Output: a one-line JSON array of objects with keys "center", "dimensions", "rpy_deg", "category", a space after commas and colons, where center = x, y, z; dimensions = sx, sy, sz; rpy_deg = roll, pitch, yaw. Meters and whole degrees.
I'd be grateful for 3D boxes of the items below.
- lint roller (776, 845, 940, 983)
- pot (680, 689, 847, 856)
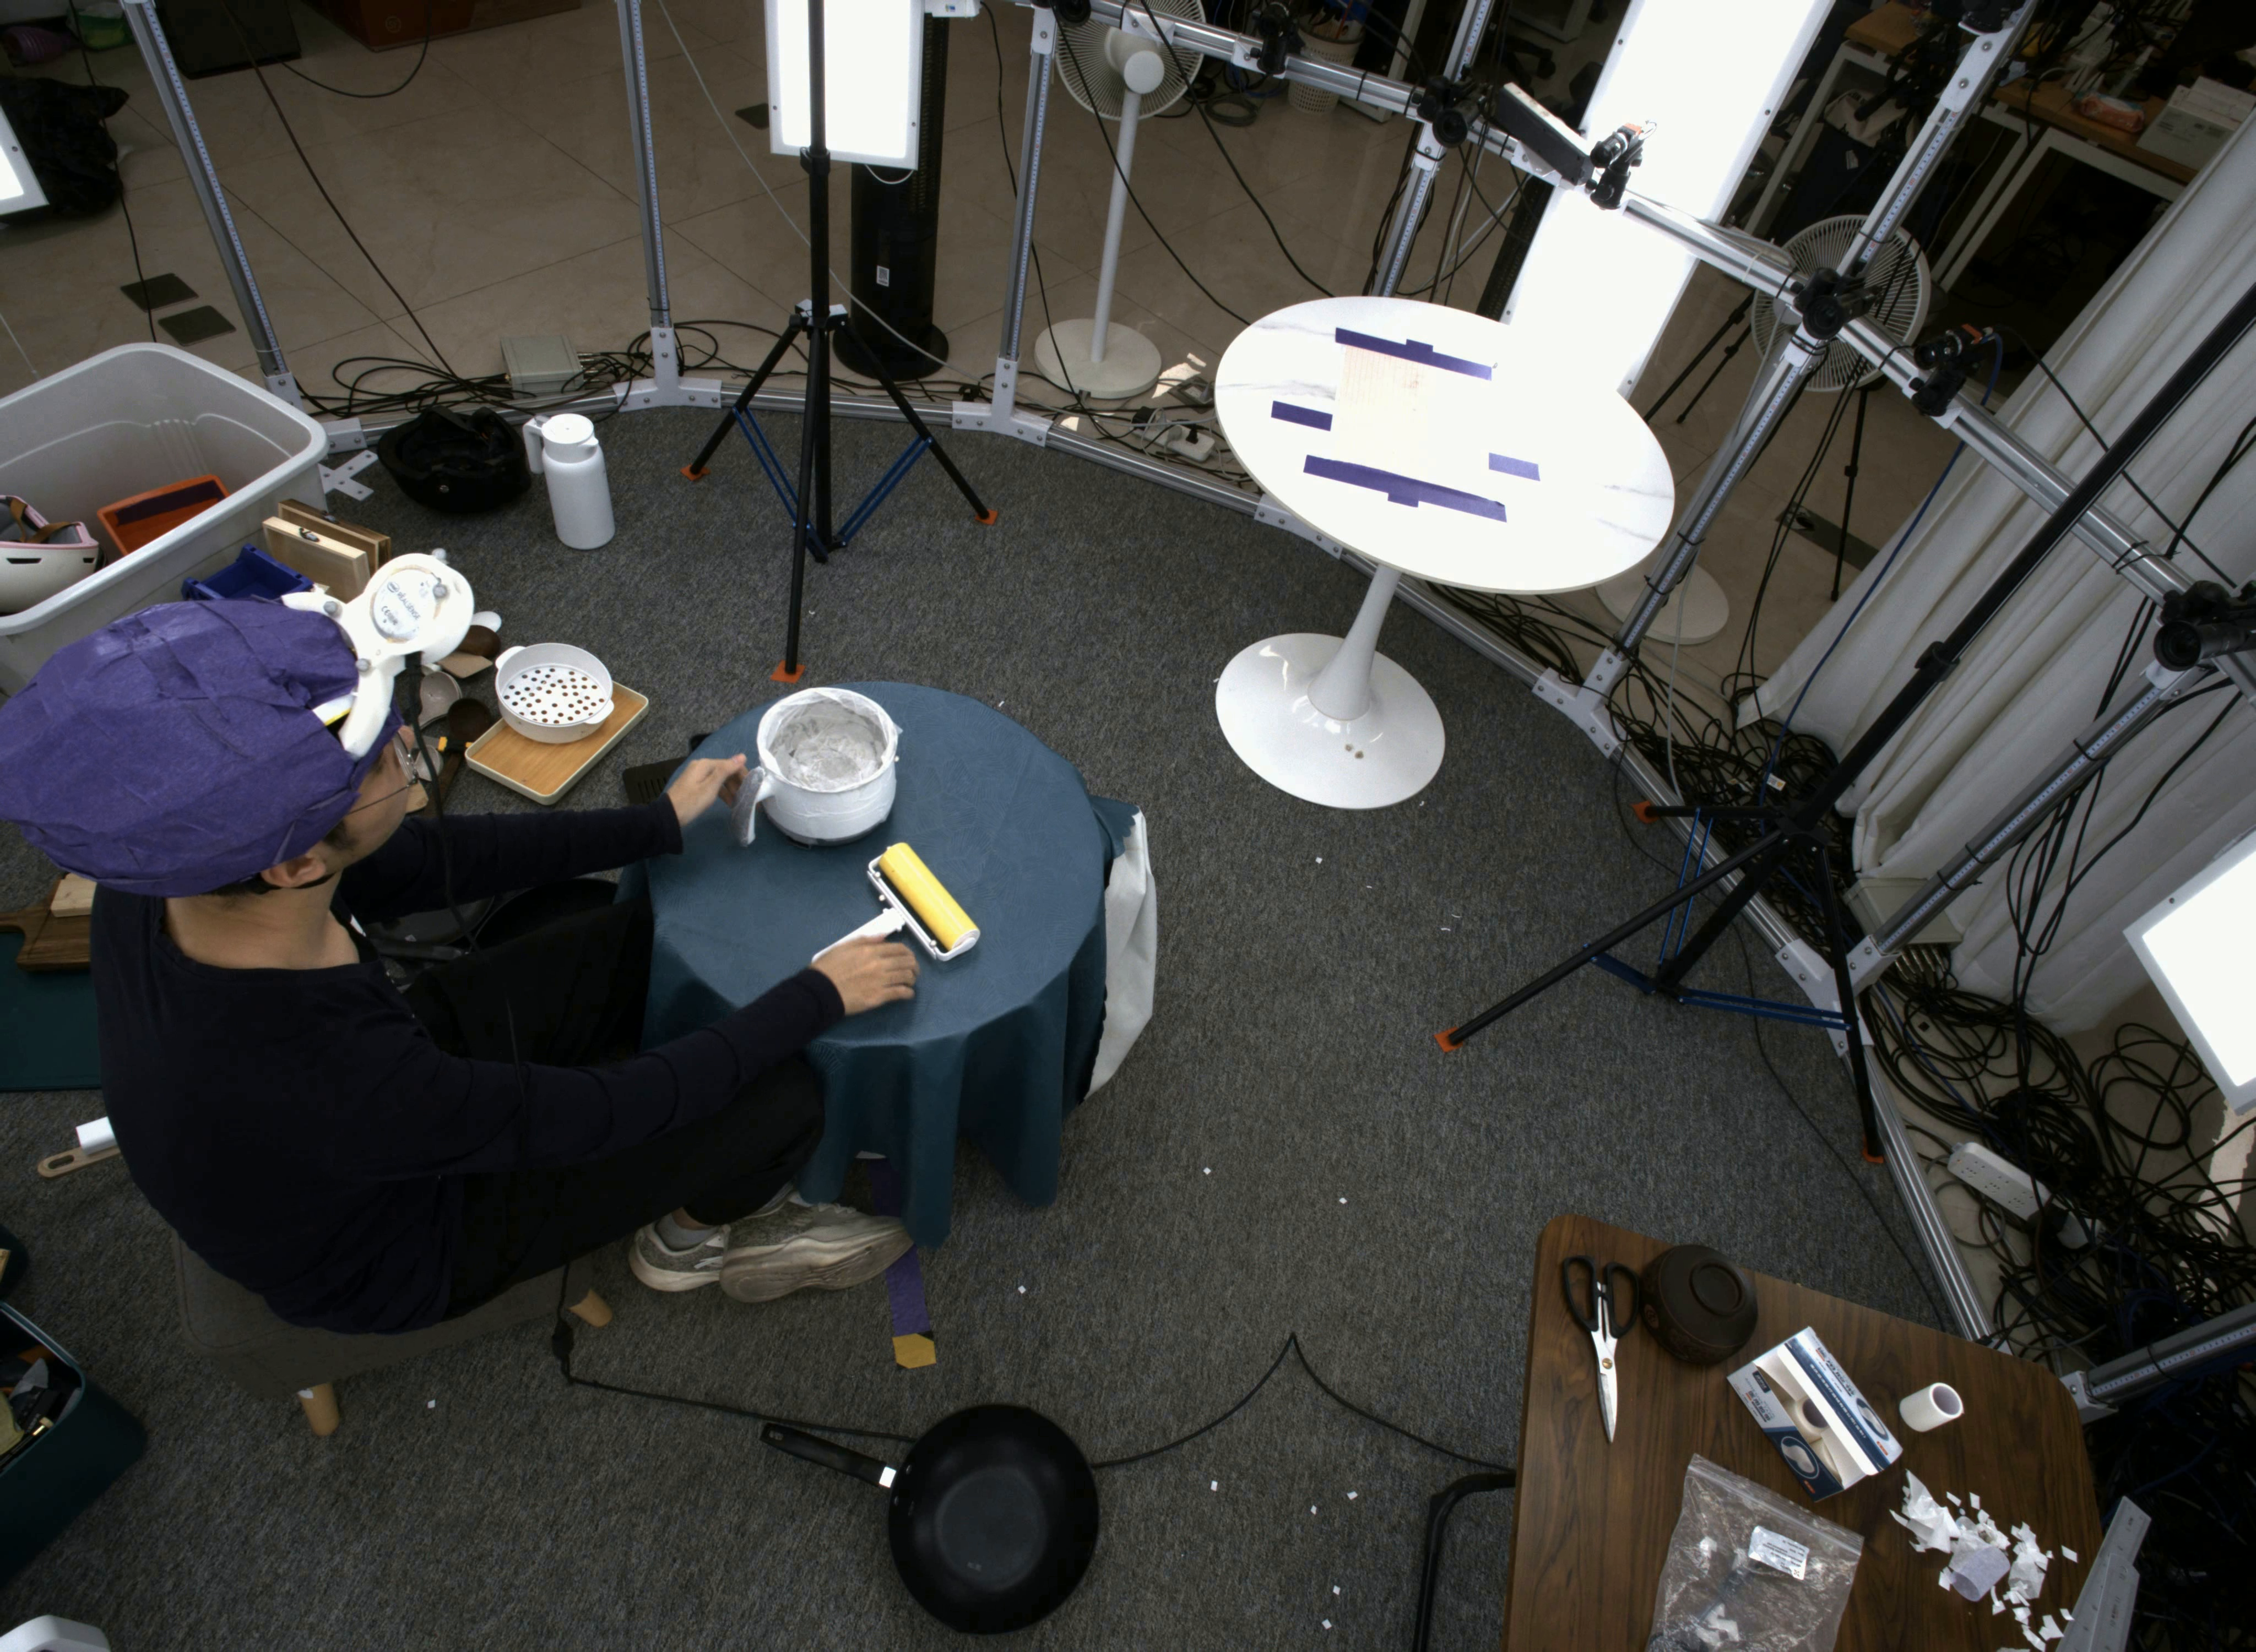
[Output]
[{"center": [-0.359, 0.127, 1.626], "dimensions": [0.192, 0.052, 0.170], "rpy_deg": [-34, 67, -34], "category": "lint roller"}, {"center": [-0.474, -0.056, 1.671], "dimensions": [0.174, 0.139, 0.234], "rpy_deg": [40, 53, 20], "category": "pot"}]
